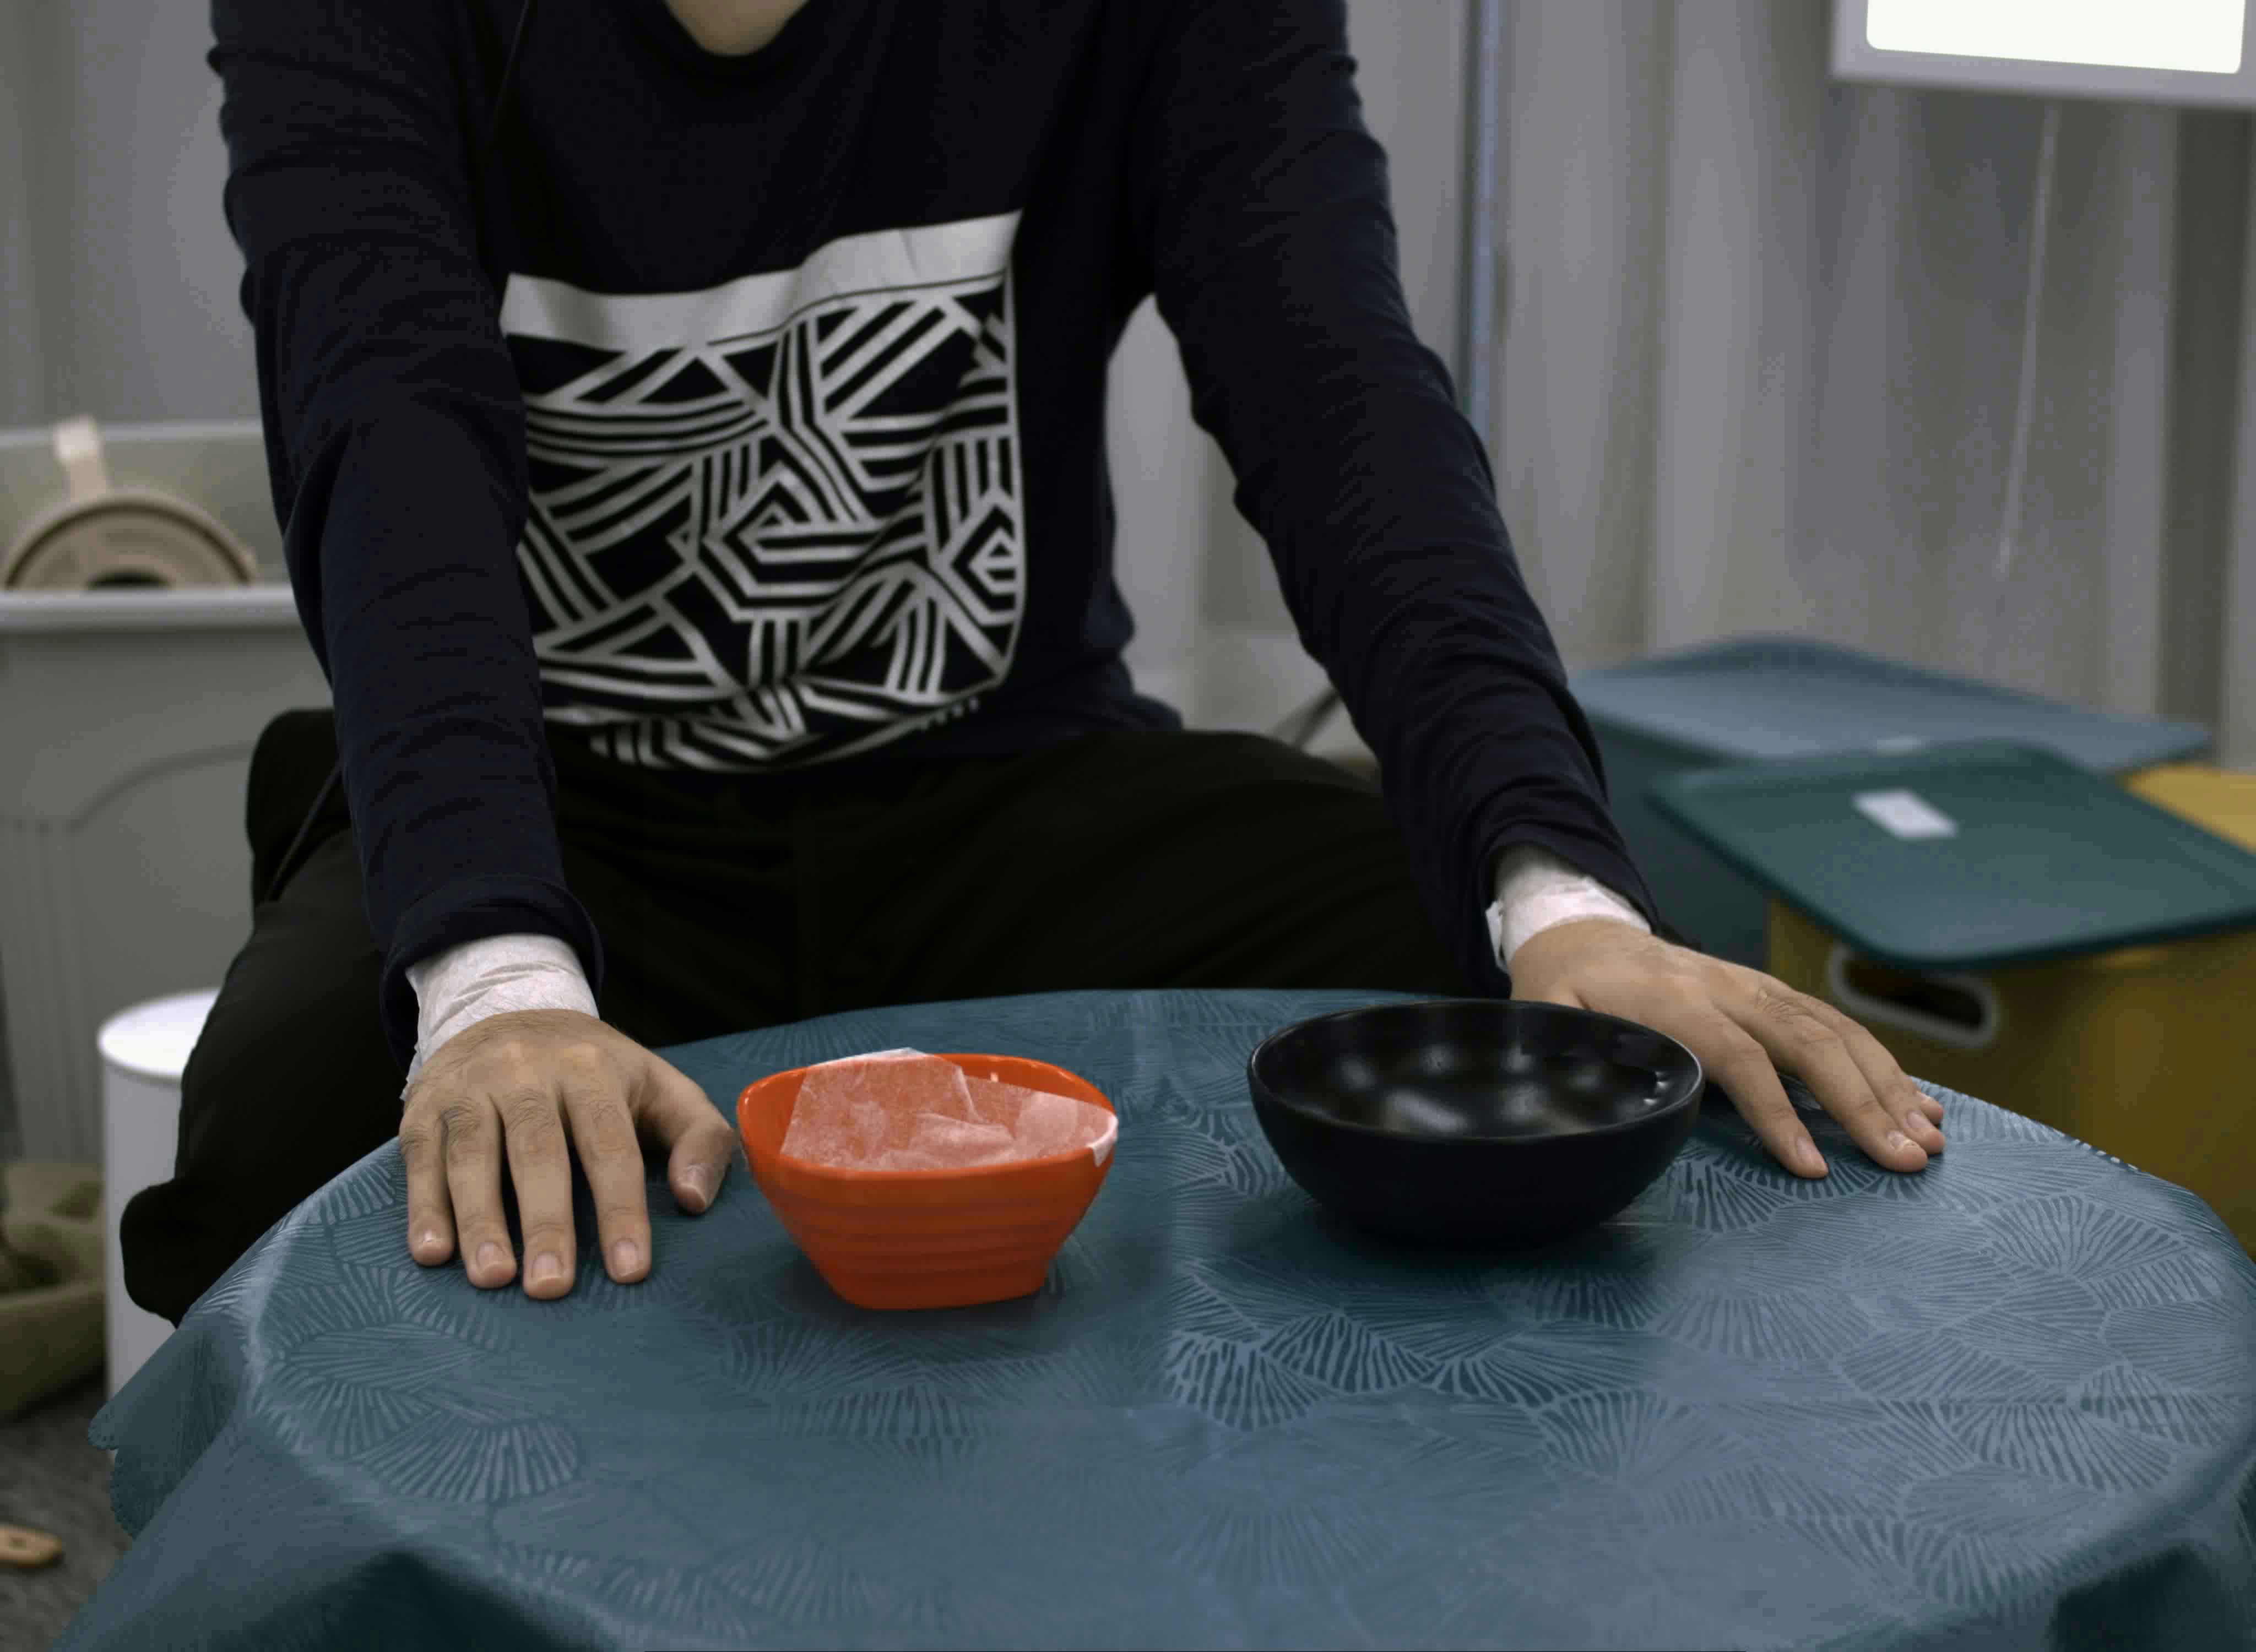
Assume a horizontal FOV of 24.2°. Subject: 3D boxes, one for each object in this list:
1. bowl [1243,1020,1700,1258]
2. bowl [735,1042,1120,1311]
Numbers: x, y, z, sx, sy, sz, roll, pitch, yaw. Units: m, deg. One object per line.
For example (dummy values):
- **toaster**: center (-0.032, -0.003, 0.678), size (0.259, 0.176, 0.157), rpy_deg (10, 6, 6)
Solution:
- **bowl**: center (0.104, 0.098, 1.599), size (0.139, 0.050, 0.139), rpy_deg (0, 11, 1)
- **bowl**: center (-0.059, 0.105, 1.548), size (0.118, 0.052, 0.118), rpy_deg (0, 18, 1)
